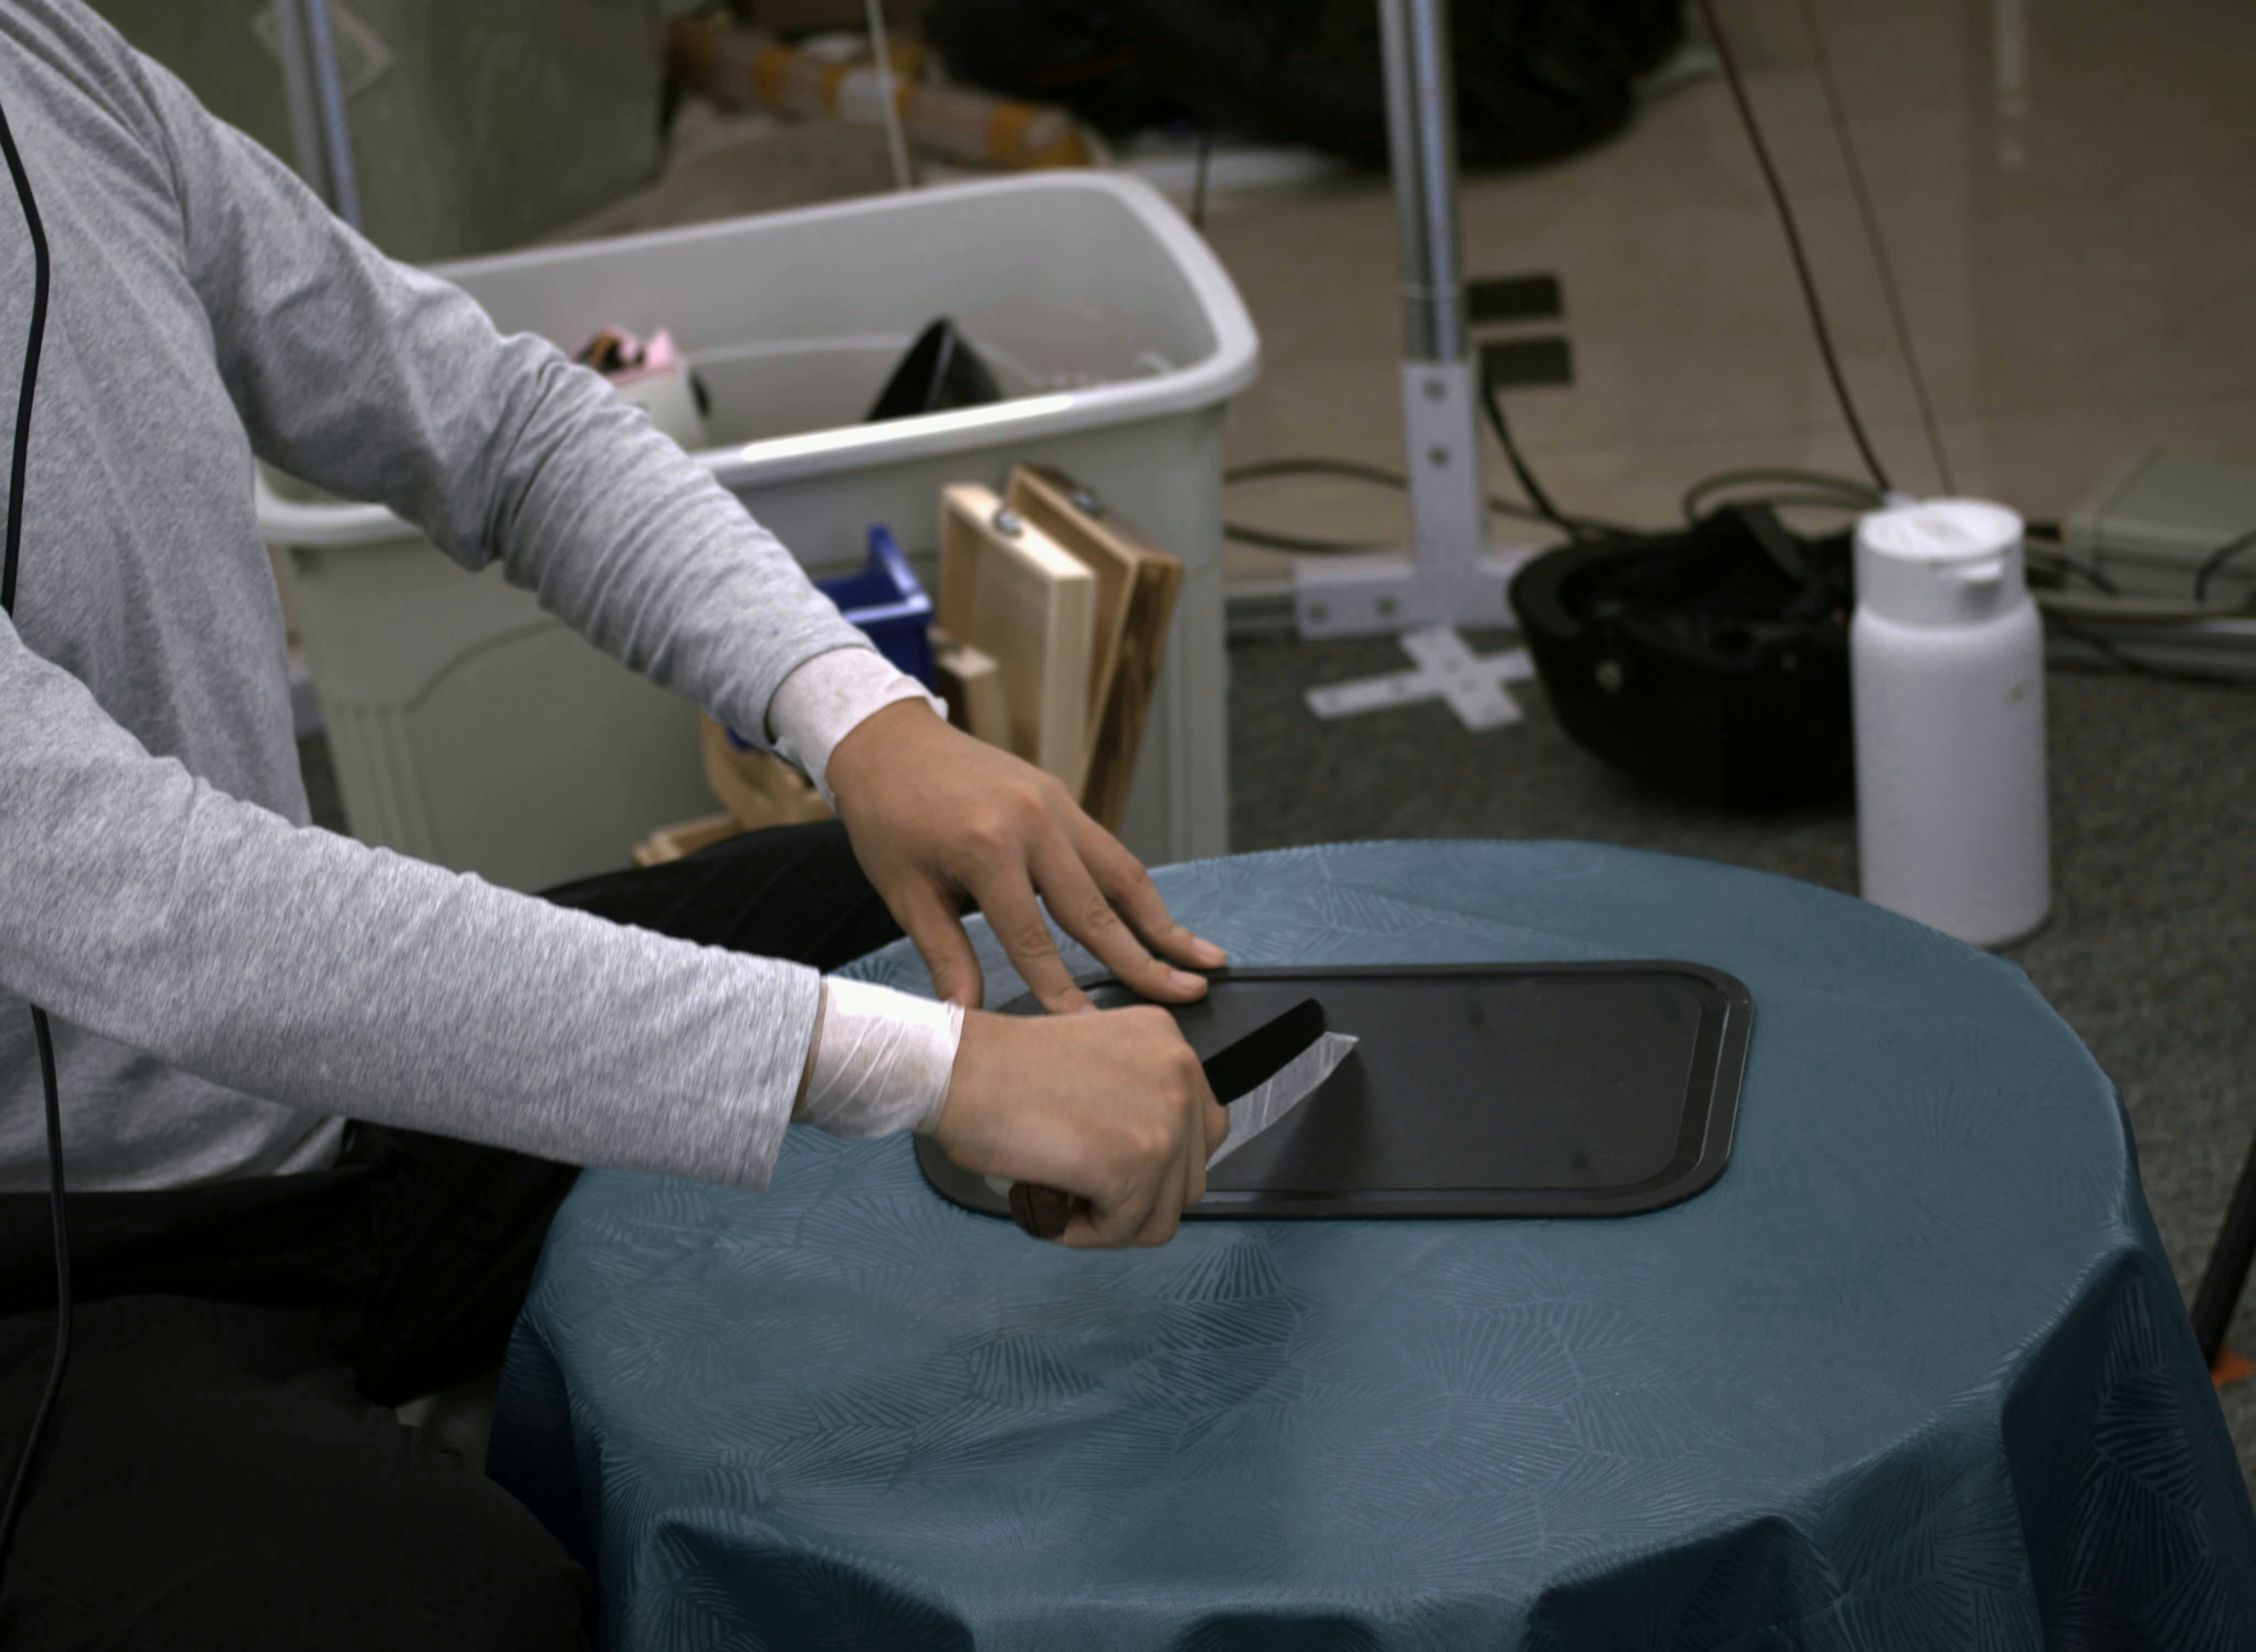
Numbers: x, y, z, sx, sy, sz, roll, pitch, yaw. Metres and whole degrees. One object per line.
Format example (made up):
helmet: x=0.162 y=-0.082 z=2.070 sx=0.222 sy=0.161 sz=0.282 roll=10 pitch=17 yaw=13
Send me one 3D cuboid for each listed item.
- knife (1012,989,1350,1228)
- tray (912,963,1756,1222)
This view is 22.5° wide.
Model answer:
knife: x=0.027 y=0.105 z=2.107 sx=0.020 sy=0.051 sz=0.287 roll=9 pitch=14 yaw=24
tray: x=0.077 y=0.100 z=2.209 sx=0.325 sy=0.010 sz=0.208 roll=-1 pitch=25 yaw=13
